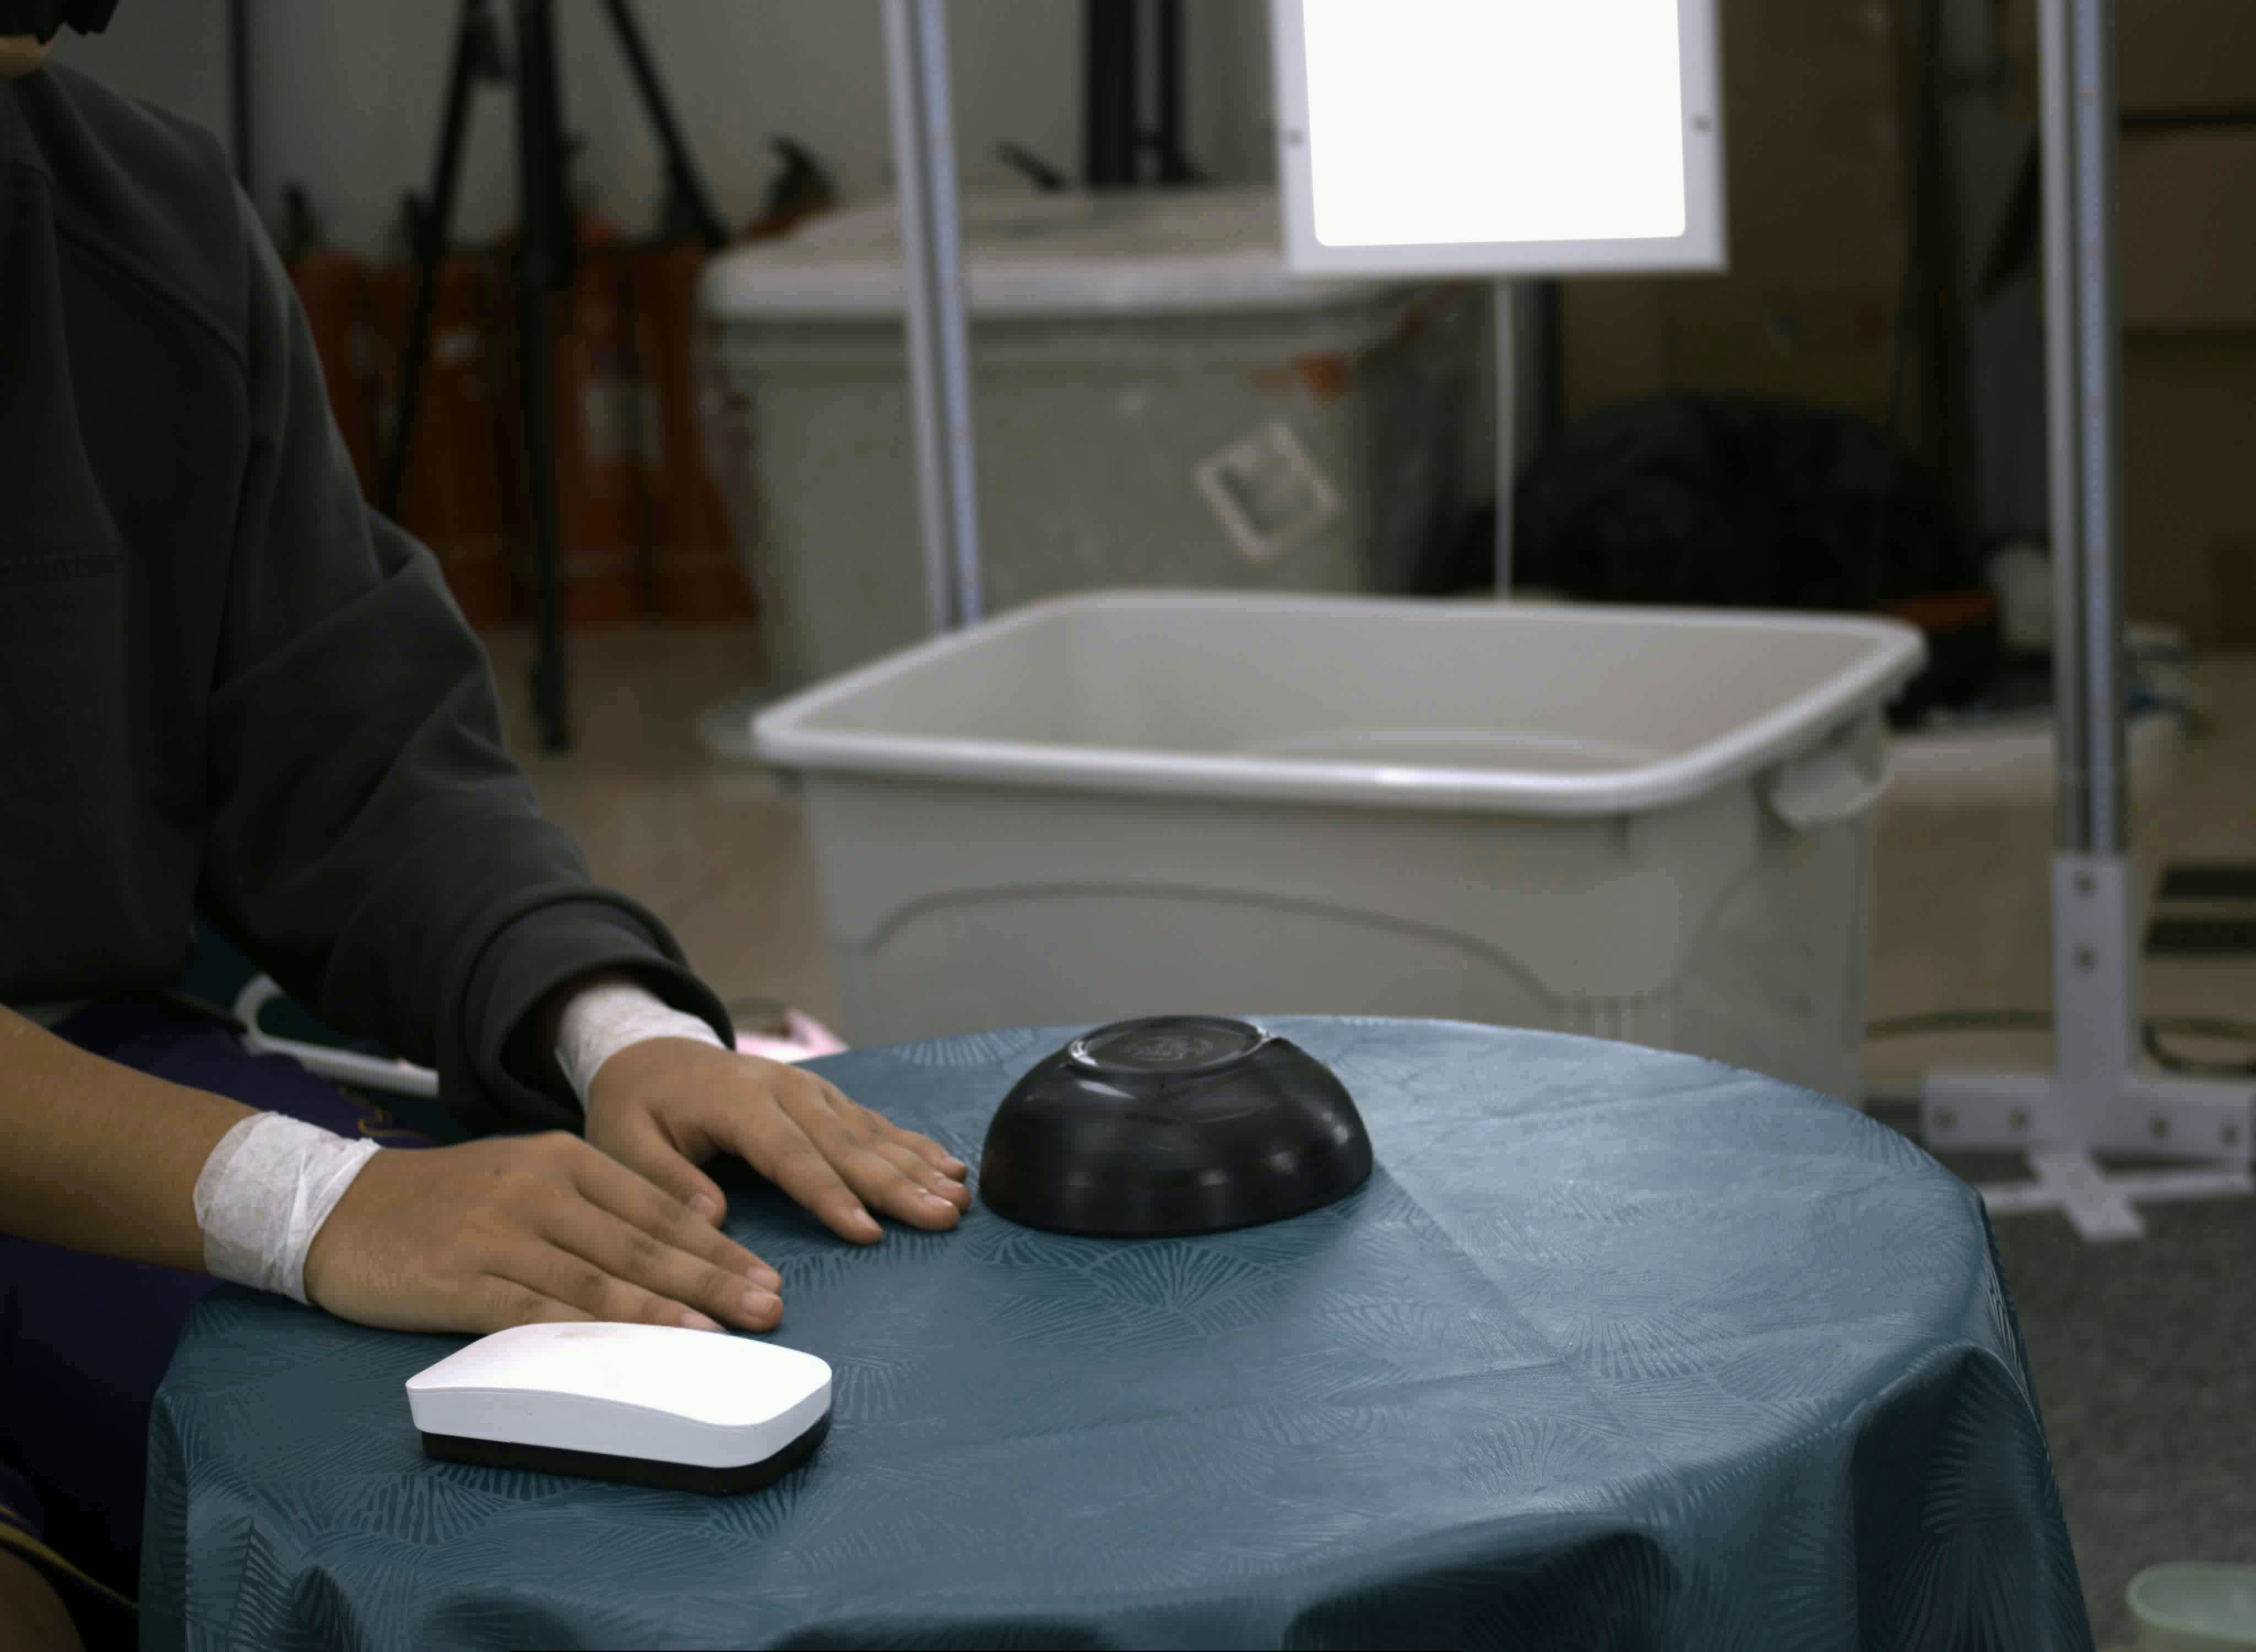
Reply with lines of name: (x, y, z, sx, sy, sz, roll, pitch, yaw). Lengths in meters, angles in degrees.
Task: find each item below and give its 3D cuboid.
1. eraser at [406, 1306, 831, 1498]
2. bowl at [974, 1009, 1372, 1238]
eraser: (-0.155, 0.175, 1.689, 0.134, 0.034, 0.062, 6, 16, 32)
bowl: (0.014, 0.097, 1.904, 0.139, 0.050, 0.140, -5, 15, 0)
